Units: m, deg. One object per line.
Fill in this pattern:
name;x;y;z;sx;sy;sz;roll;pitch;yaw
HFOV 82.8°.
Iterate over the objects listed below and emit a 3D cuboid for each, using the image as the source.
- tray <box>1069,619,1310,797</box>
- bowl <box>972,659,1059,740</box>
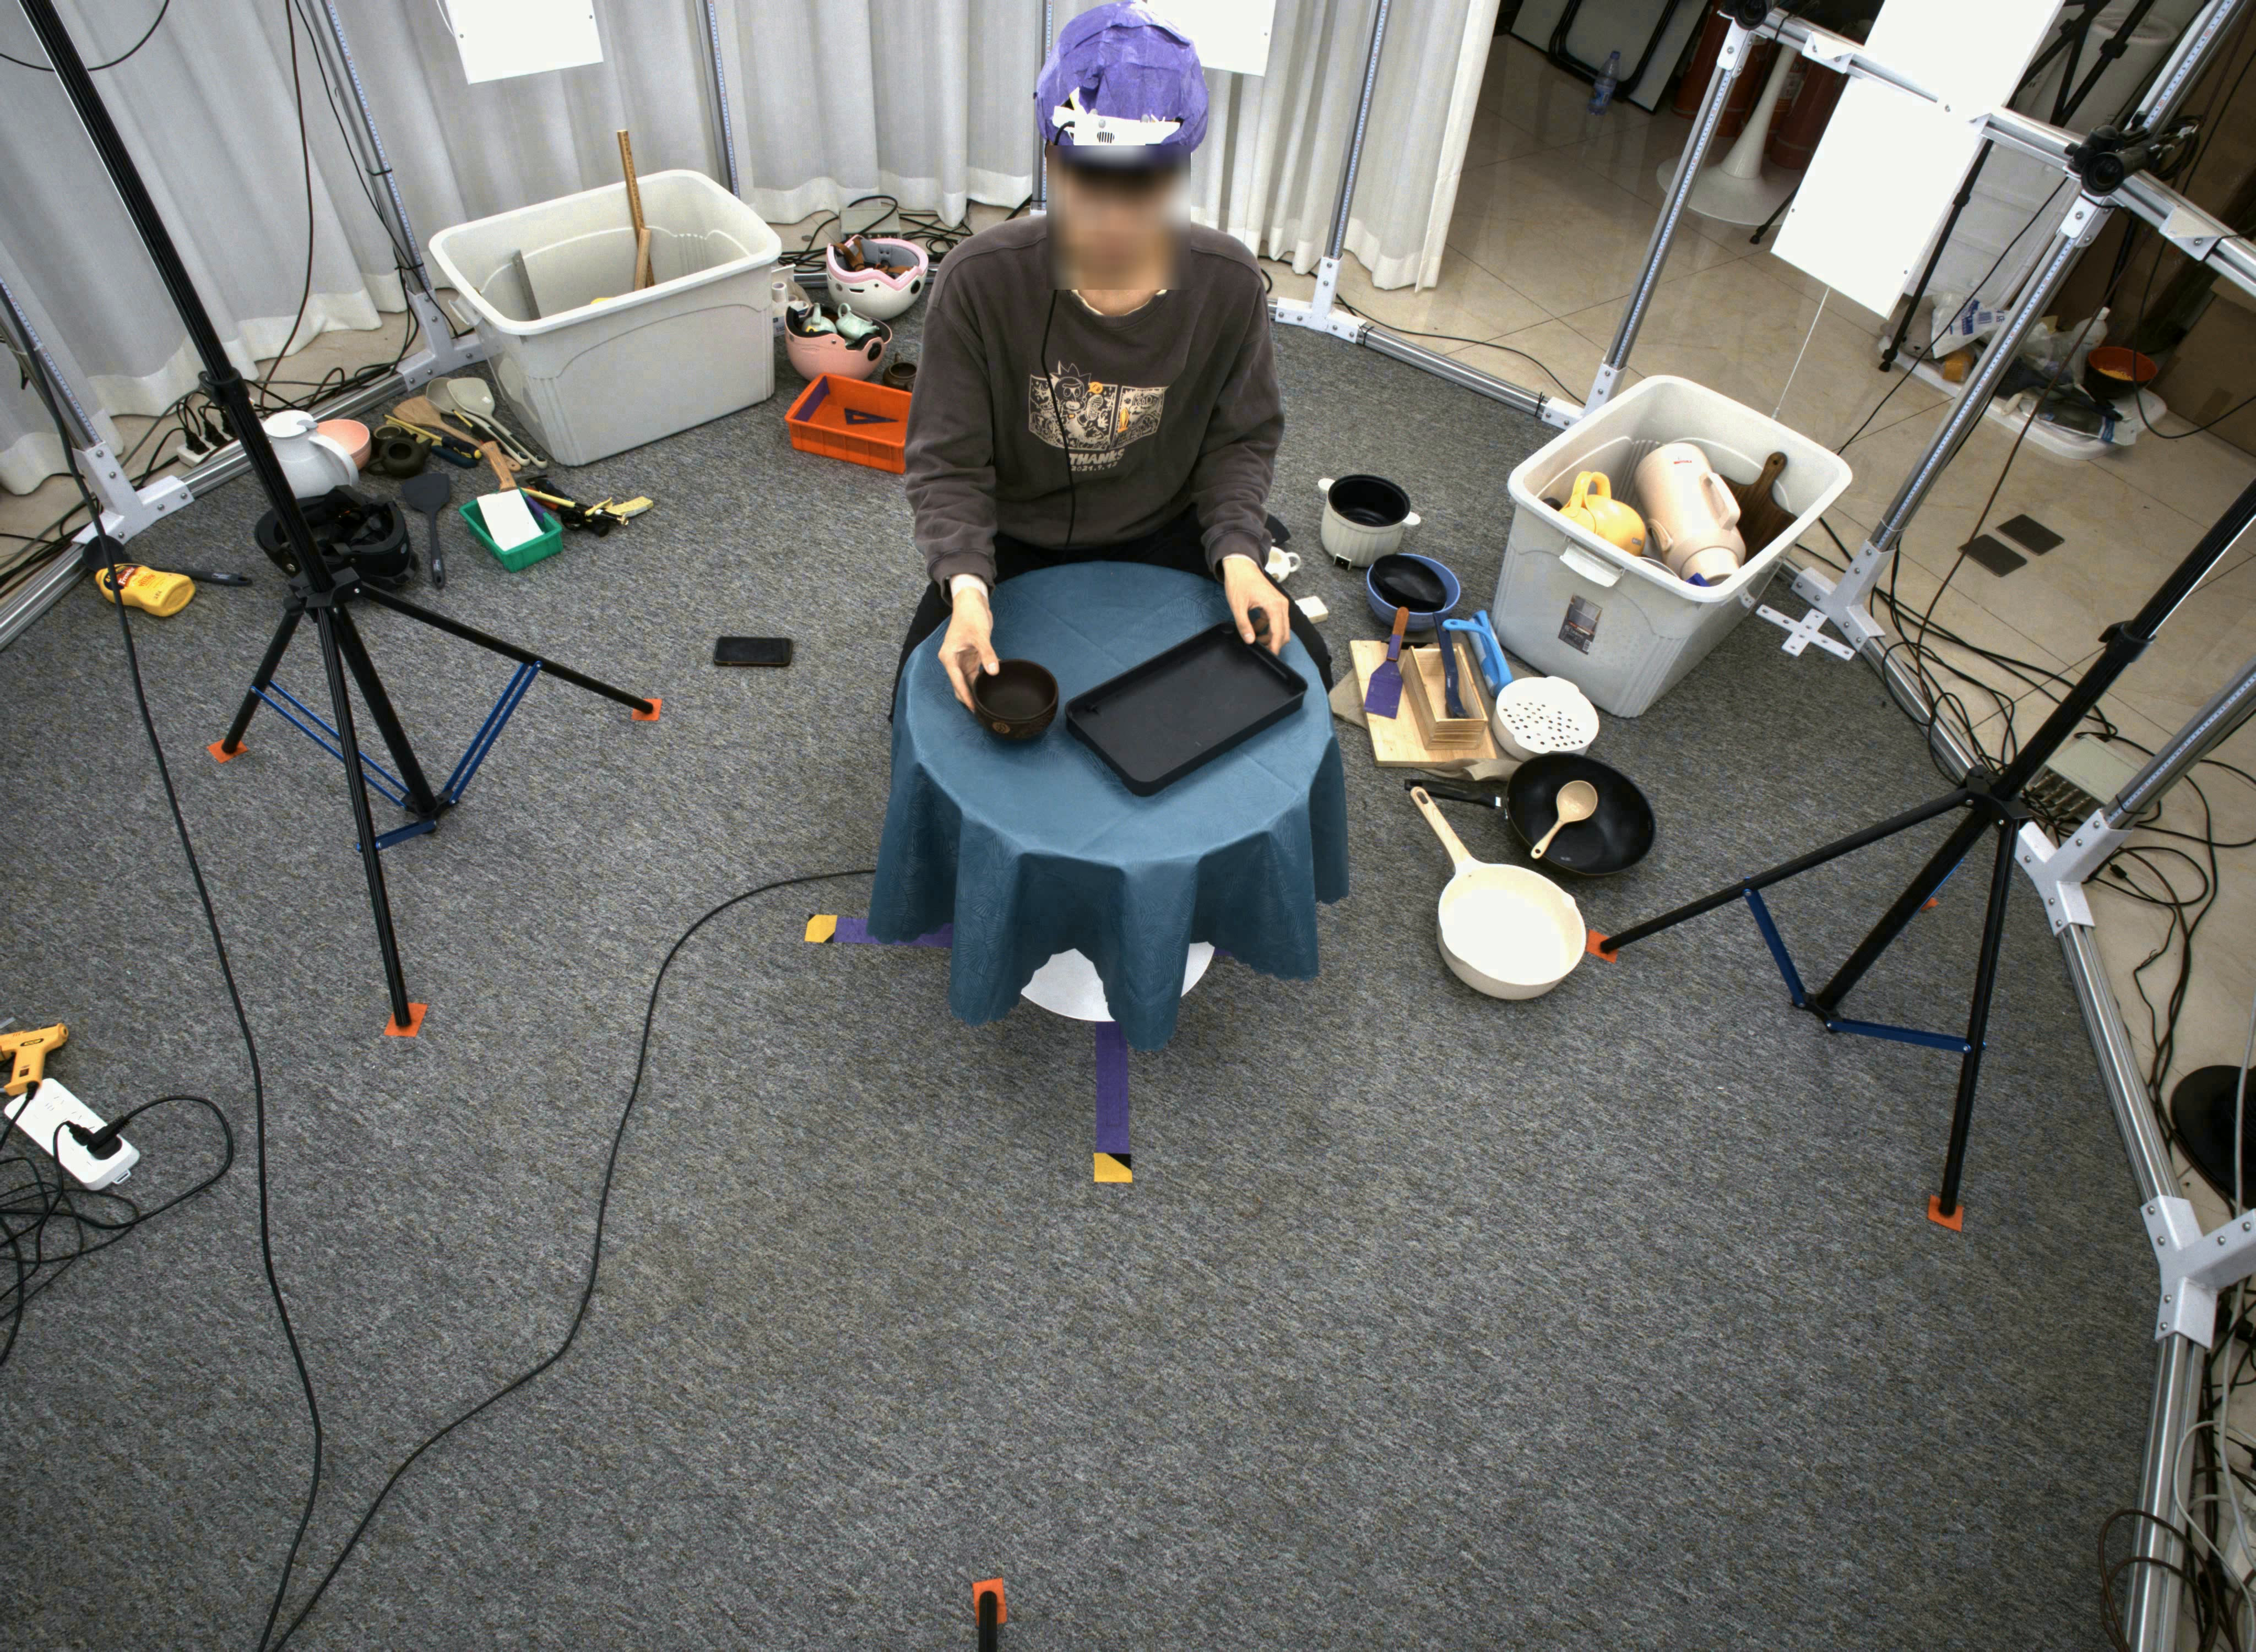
tray;0.088;-0.171;1.797;0.320;0.036;0.187;-32;57;-27
bowl;-0.153;-0.165;1.752;0.118;0.068;0.121;3;49;-3
